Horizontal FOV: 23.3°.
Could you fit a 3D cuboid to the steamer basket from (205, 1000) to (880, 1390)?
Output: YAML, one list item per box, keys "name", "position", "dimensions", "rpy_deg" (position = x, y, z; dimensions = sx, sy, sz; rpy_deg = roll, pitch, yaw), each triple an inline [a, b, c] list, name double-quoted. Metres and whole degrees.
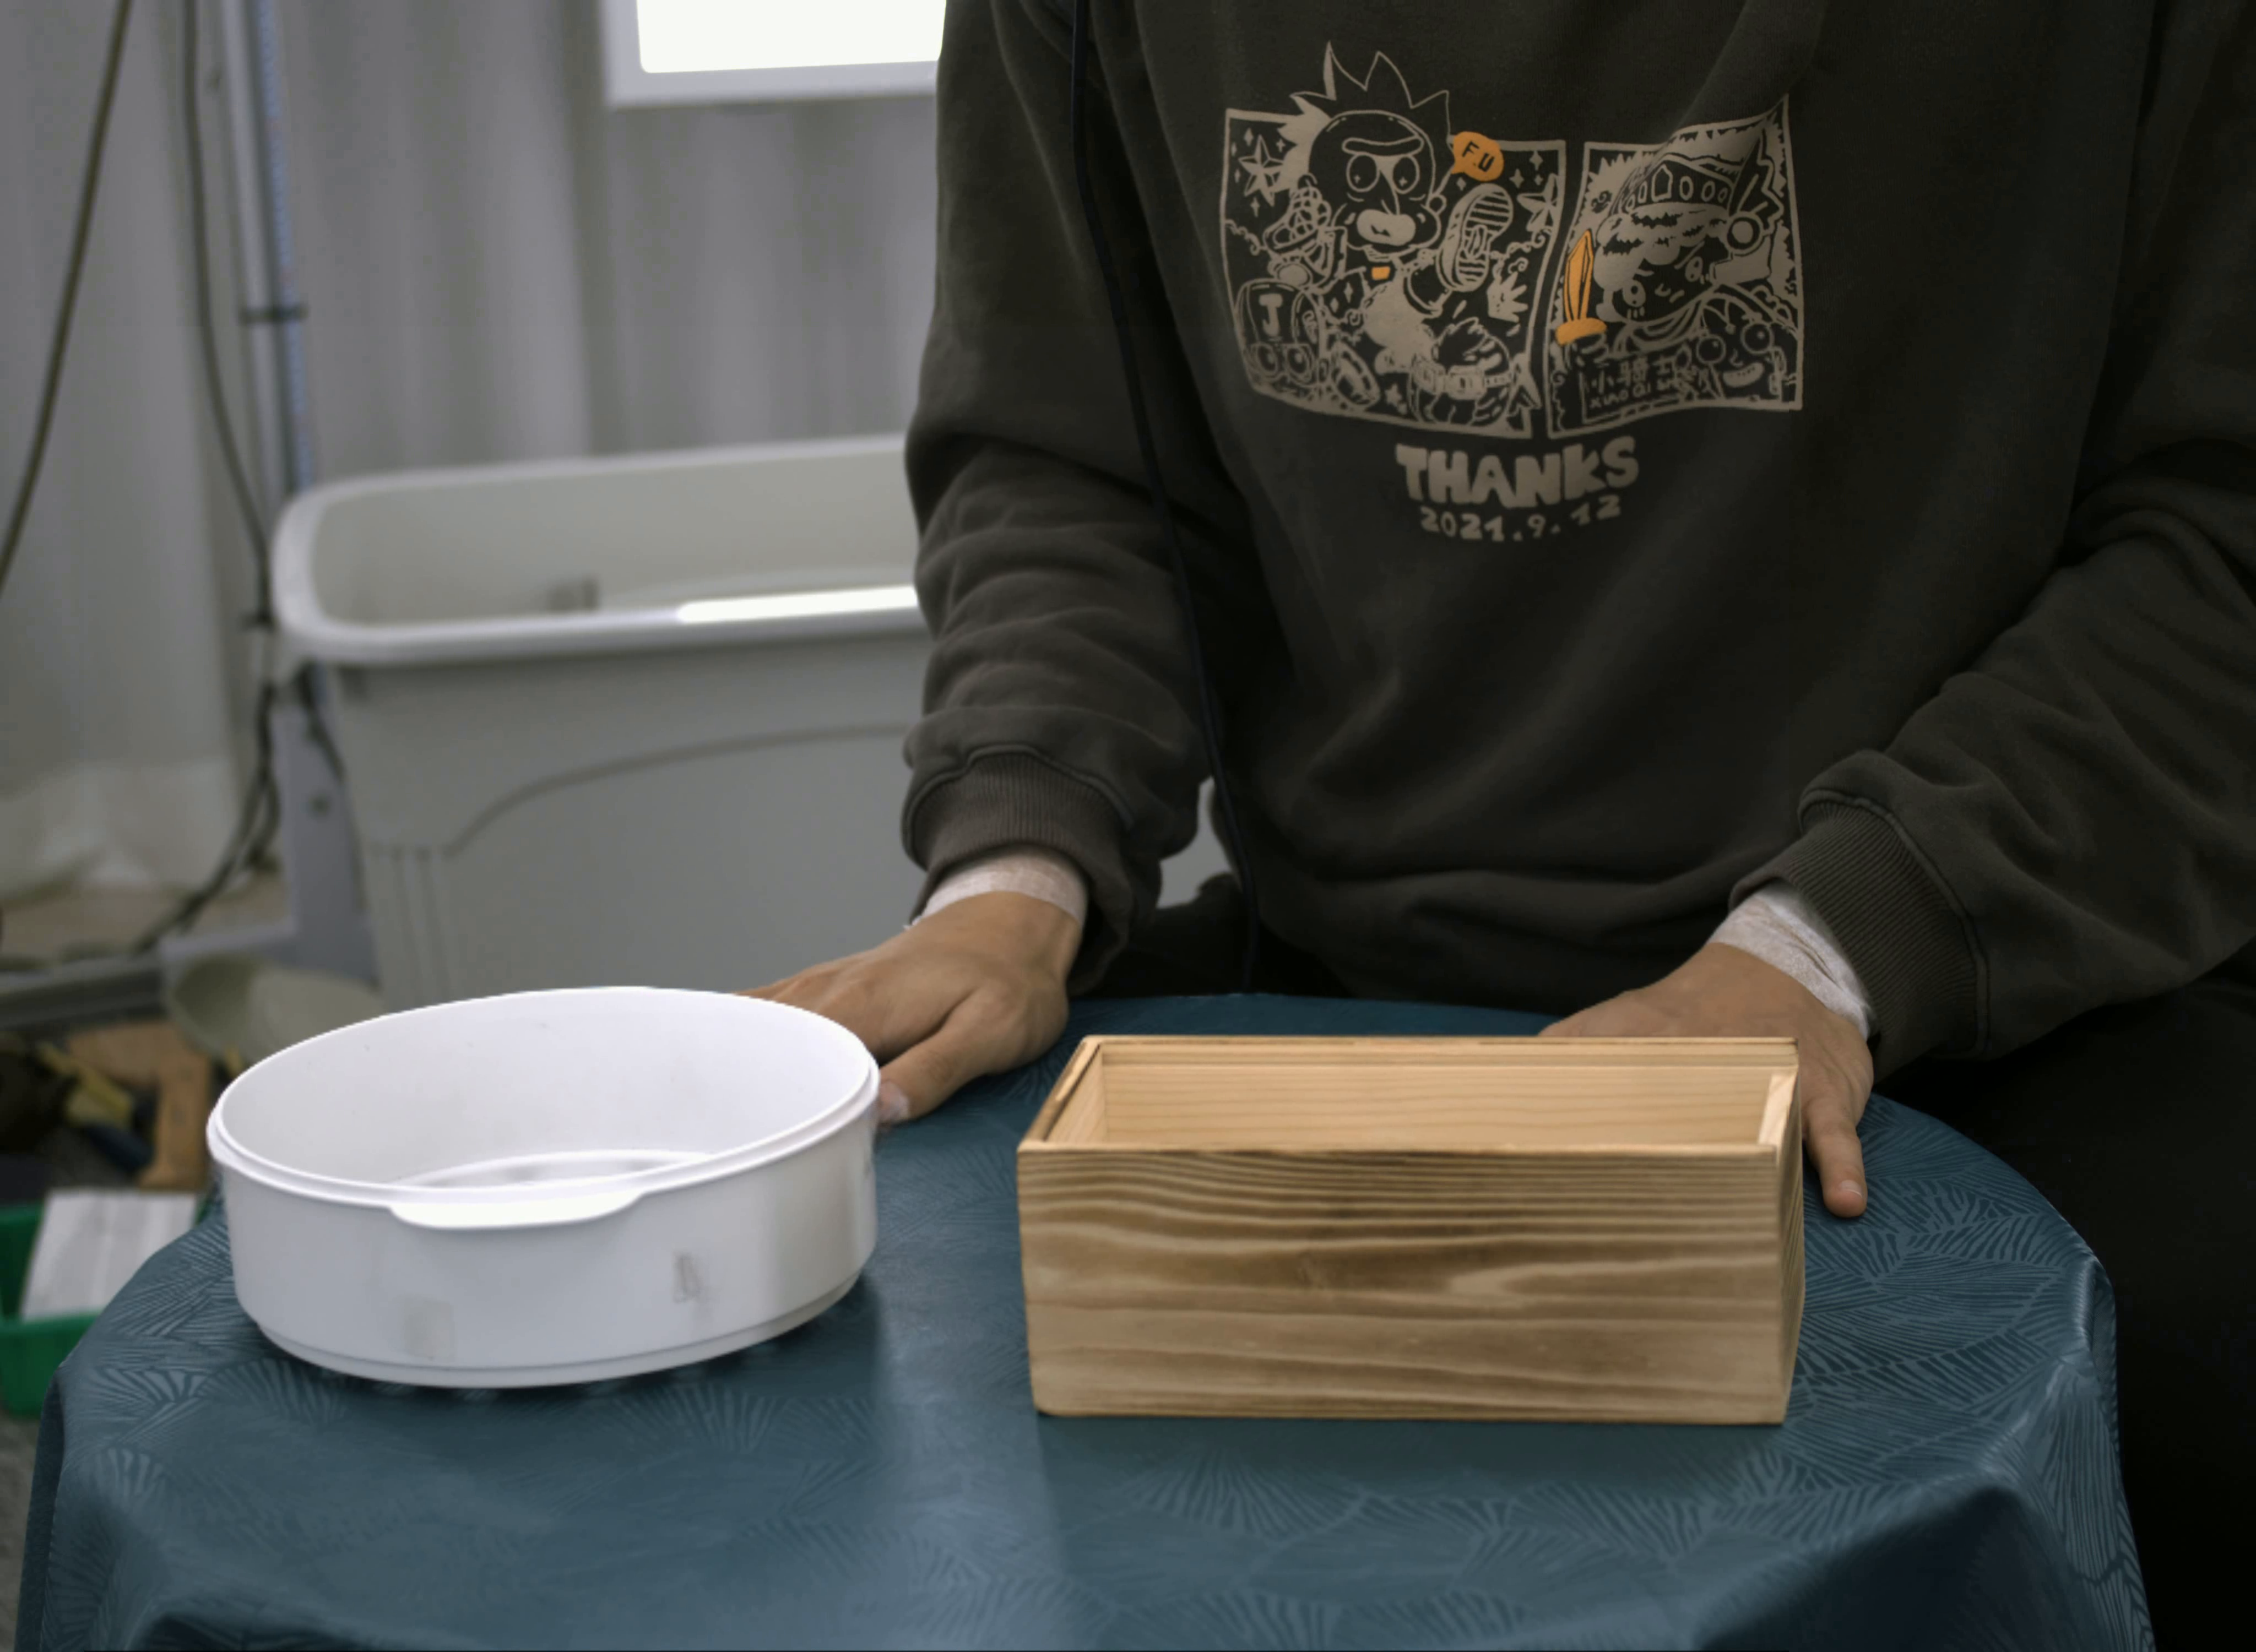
- name: "steamer basket"
  position: [-0.174, 0.110, 1.644]
  dimensions: [0.201, 0.069, 0.232]
  rpy_deg: [-2, 14, 0]

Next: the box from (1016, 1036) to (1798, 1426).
- name: "box"
  position: [0.082, 0.114, 1.556]
  dimensions: [0.211, 0.080, 0.108]
  rpy_deg: [0, 14, 10]
